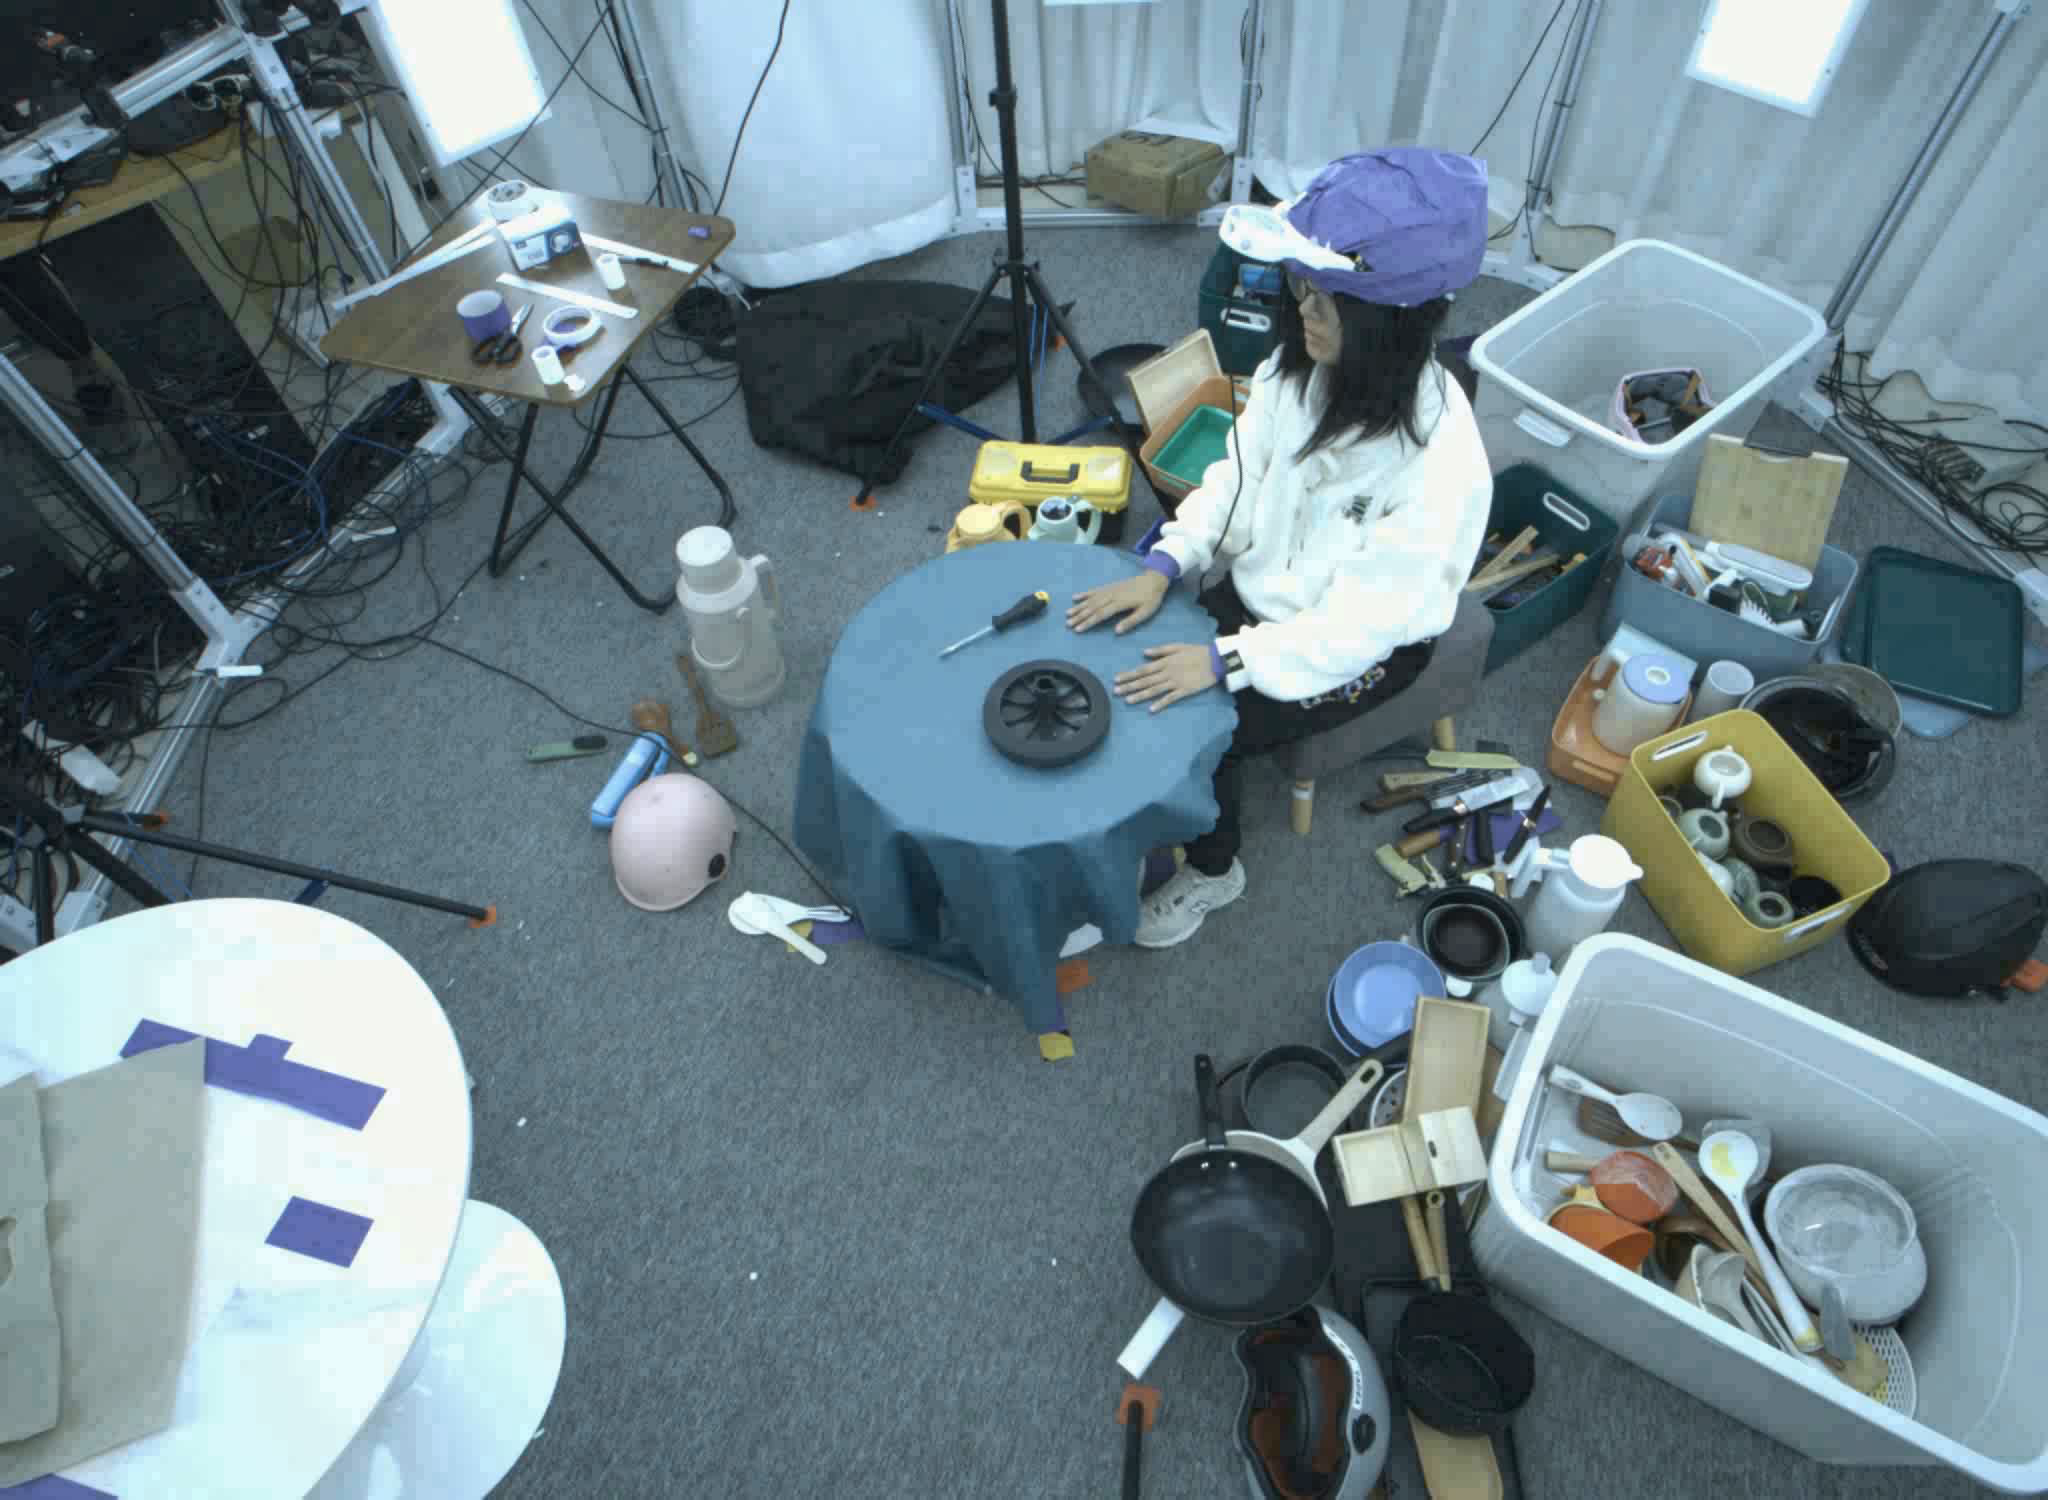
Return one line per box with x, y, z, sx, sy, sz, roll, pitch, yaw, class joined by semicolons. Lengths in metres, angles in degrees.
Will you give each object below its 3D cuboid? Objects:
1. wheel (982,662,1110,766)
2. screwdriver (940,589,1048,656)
0.030;-0.069;1.790;0.189;0.080;0.186;-31;56;-18;wheel
-0.049;-0.199;1.915;0.199;0.032;0.031;-29;58;-14;screwdriver
